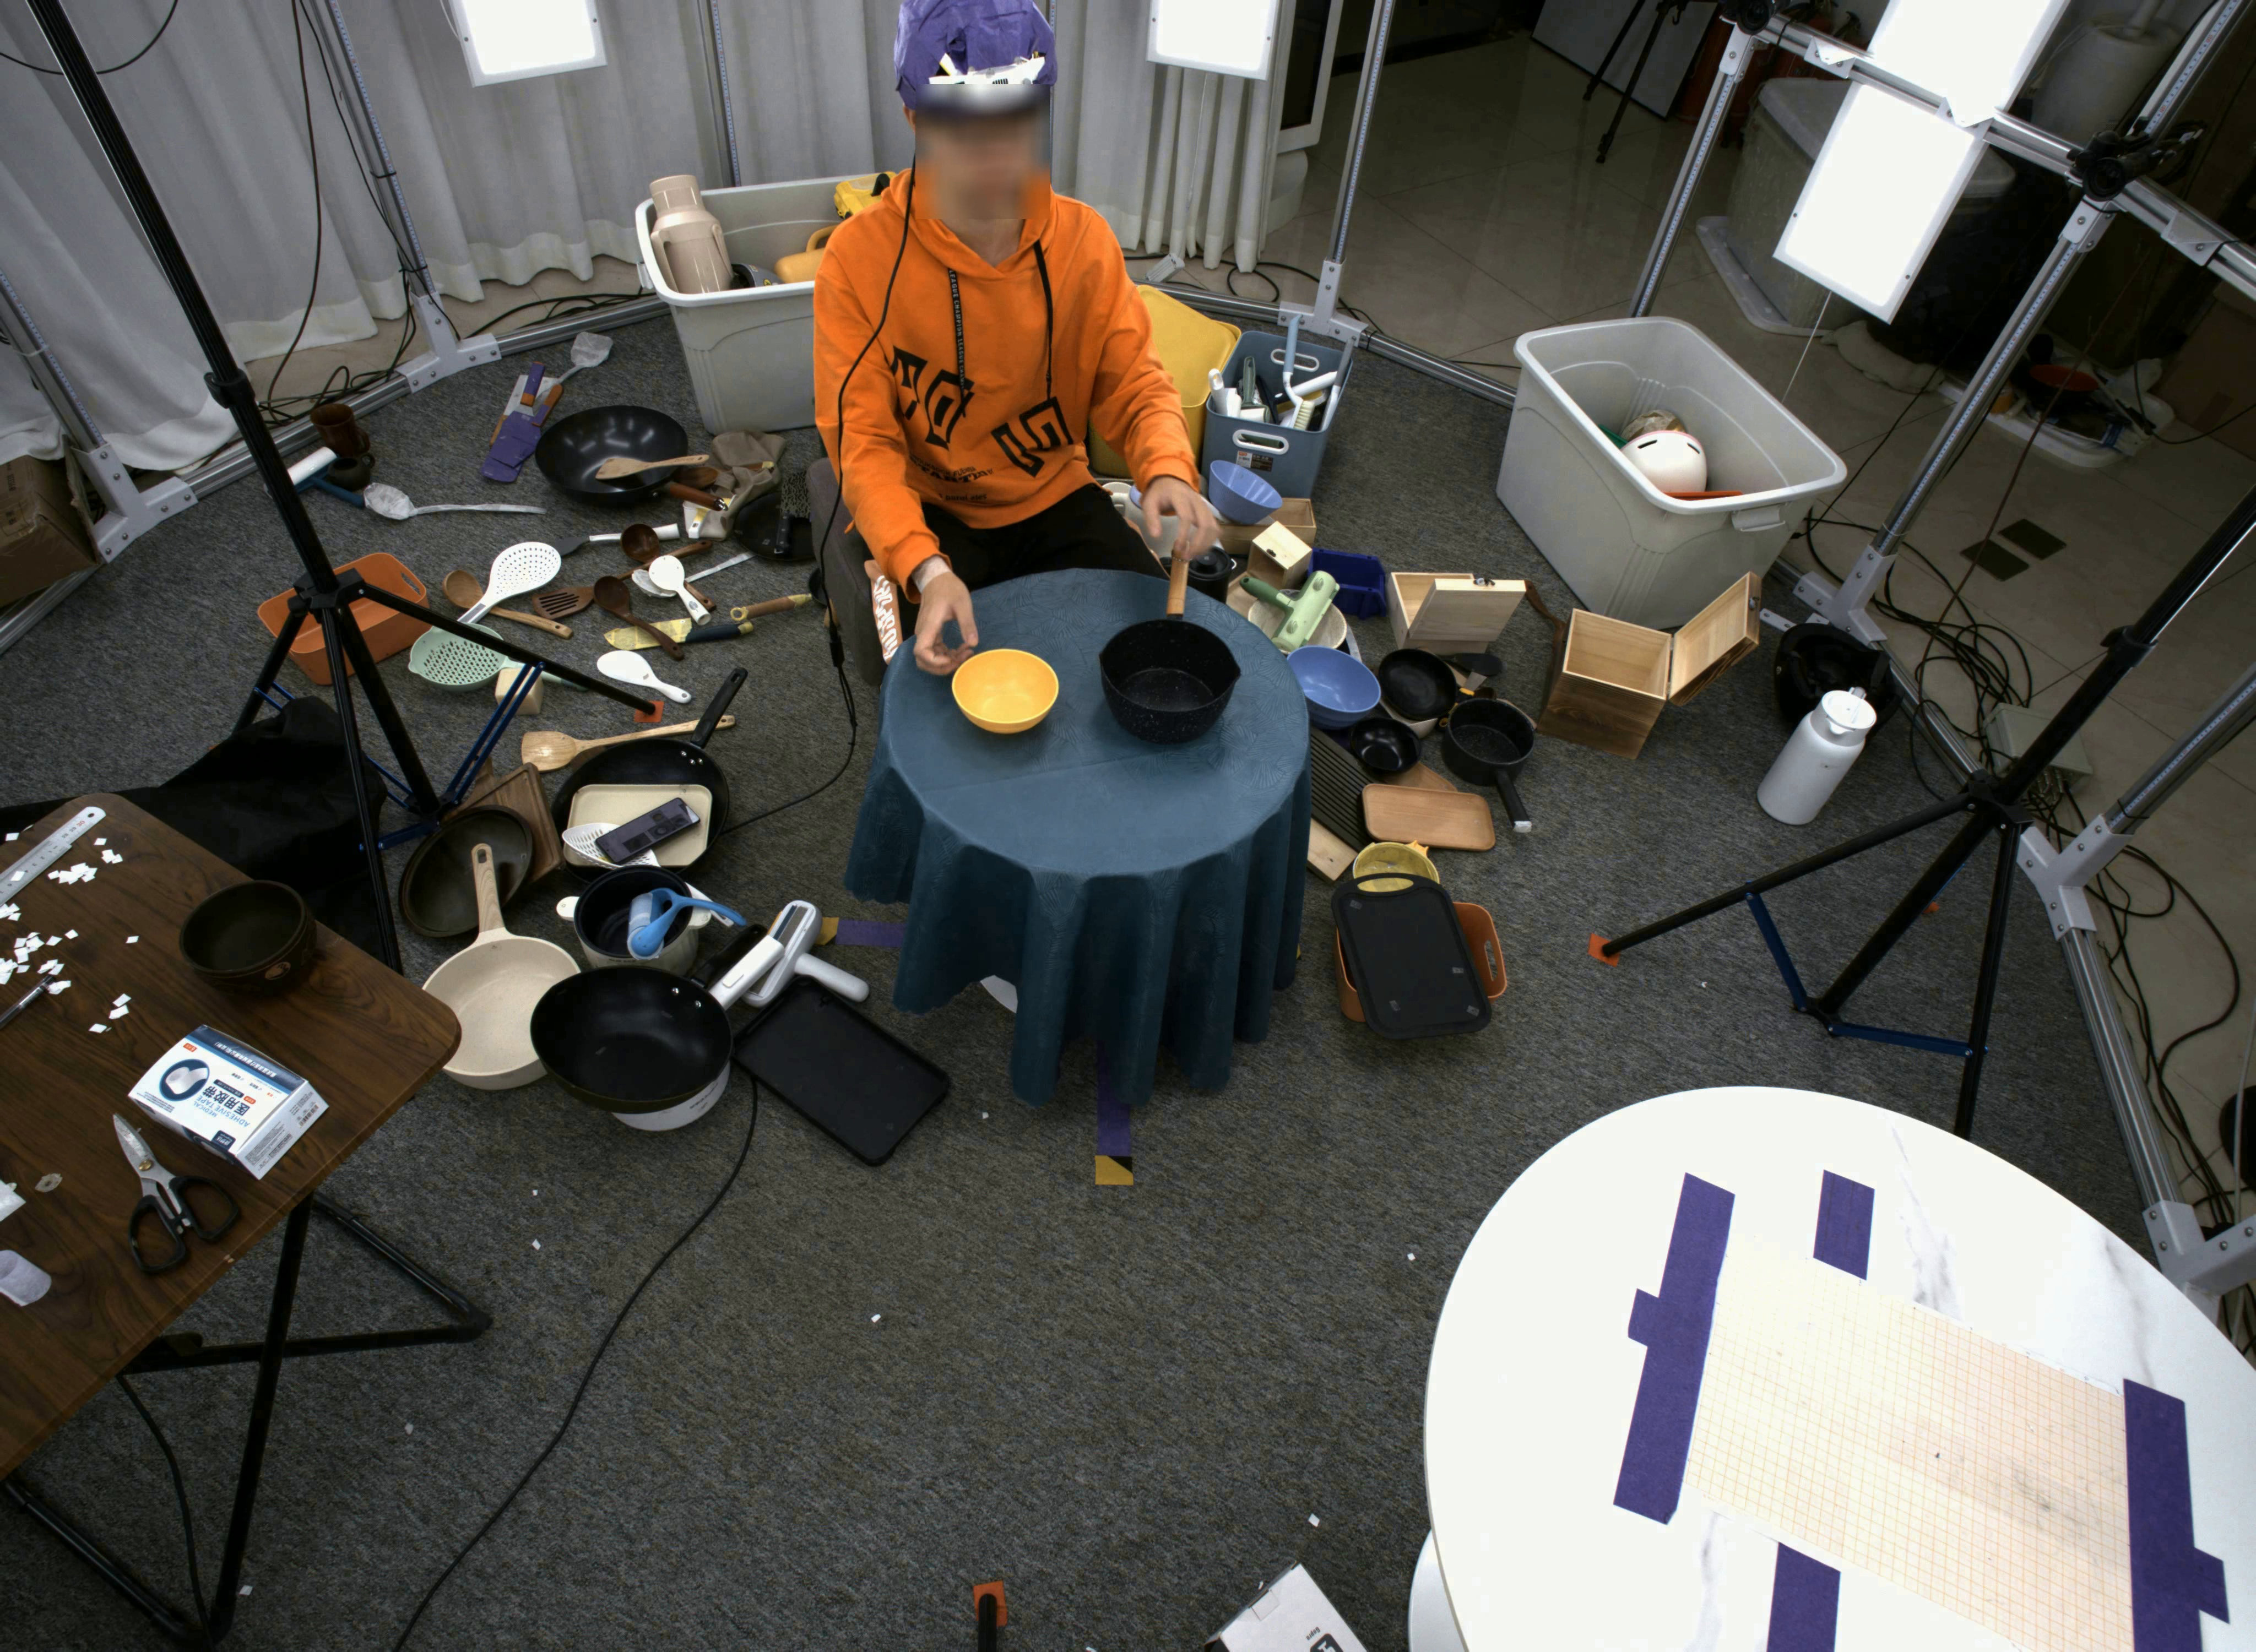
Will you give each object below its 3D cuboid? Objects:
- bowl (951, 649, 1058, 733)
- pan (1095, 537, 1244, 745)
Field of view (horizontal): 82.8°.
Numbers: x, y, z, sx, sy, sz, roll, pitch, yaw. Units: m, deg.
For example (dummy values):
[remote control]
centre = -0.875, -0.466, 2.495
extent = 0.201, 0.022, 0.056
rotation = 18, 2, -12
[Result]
[bowl]
centre = -0.170, -0.174, 1.771
extent = 0.145, 0.058, 0.149
rotation = 2, 48, -3
[pan]
centre = 0.061, -0.265, 1.833
extent = 0.207, 0.105, 0.351
rotation = 5, 50, 2
